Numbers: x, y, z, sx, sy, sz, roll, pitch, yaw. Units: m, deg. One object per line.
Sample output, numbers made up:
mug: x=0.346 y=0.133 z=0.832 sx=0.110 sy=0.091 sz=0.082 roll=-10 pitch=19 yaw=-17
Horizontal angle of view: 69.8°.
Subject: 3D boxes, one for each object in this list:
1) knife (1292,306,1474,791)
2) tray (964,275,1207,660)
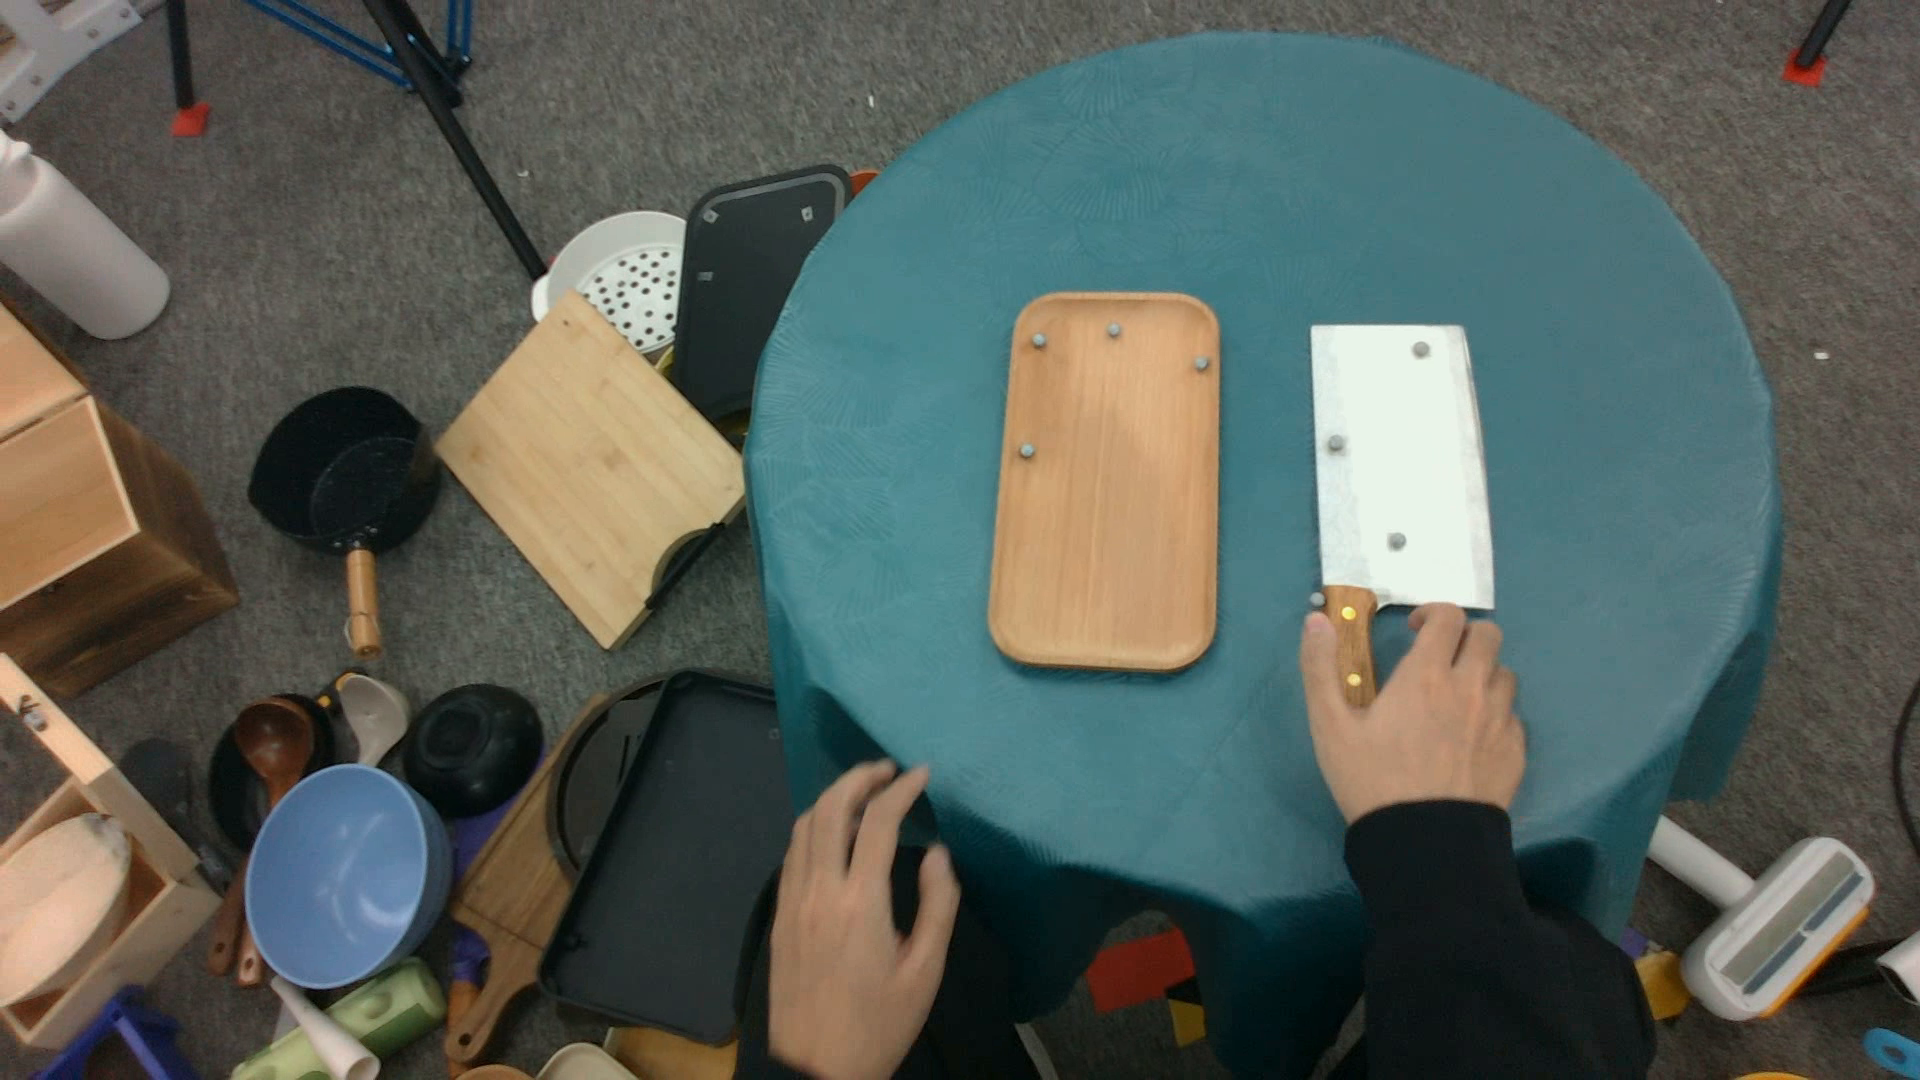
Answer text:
knife: x=0.235 y=-0.007 z=0.766 sx=0.093 sy=0.021 sz=0.307 roll=2 pitch=62 yaw=6
tray: x=0.077 y=-0.049 z=0.806 sx=0.130 sy=0.023 sz=0.251 roll=2 pitch=65 yaw=11
